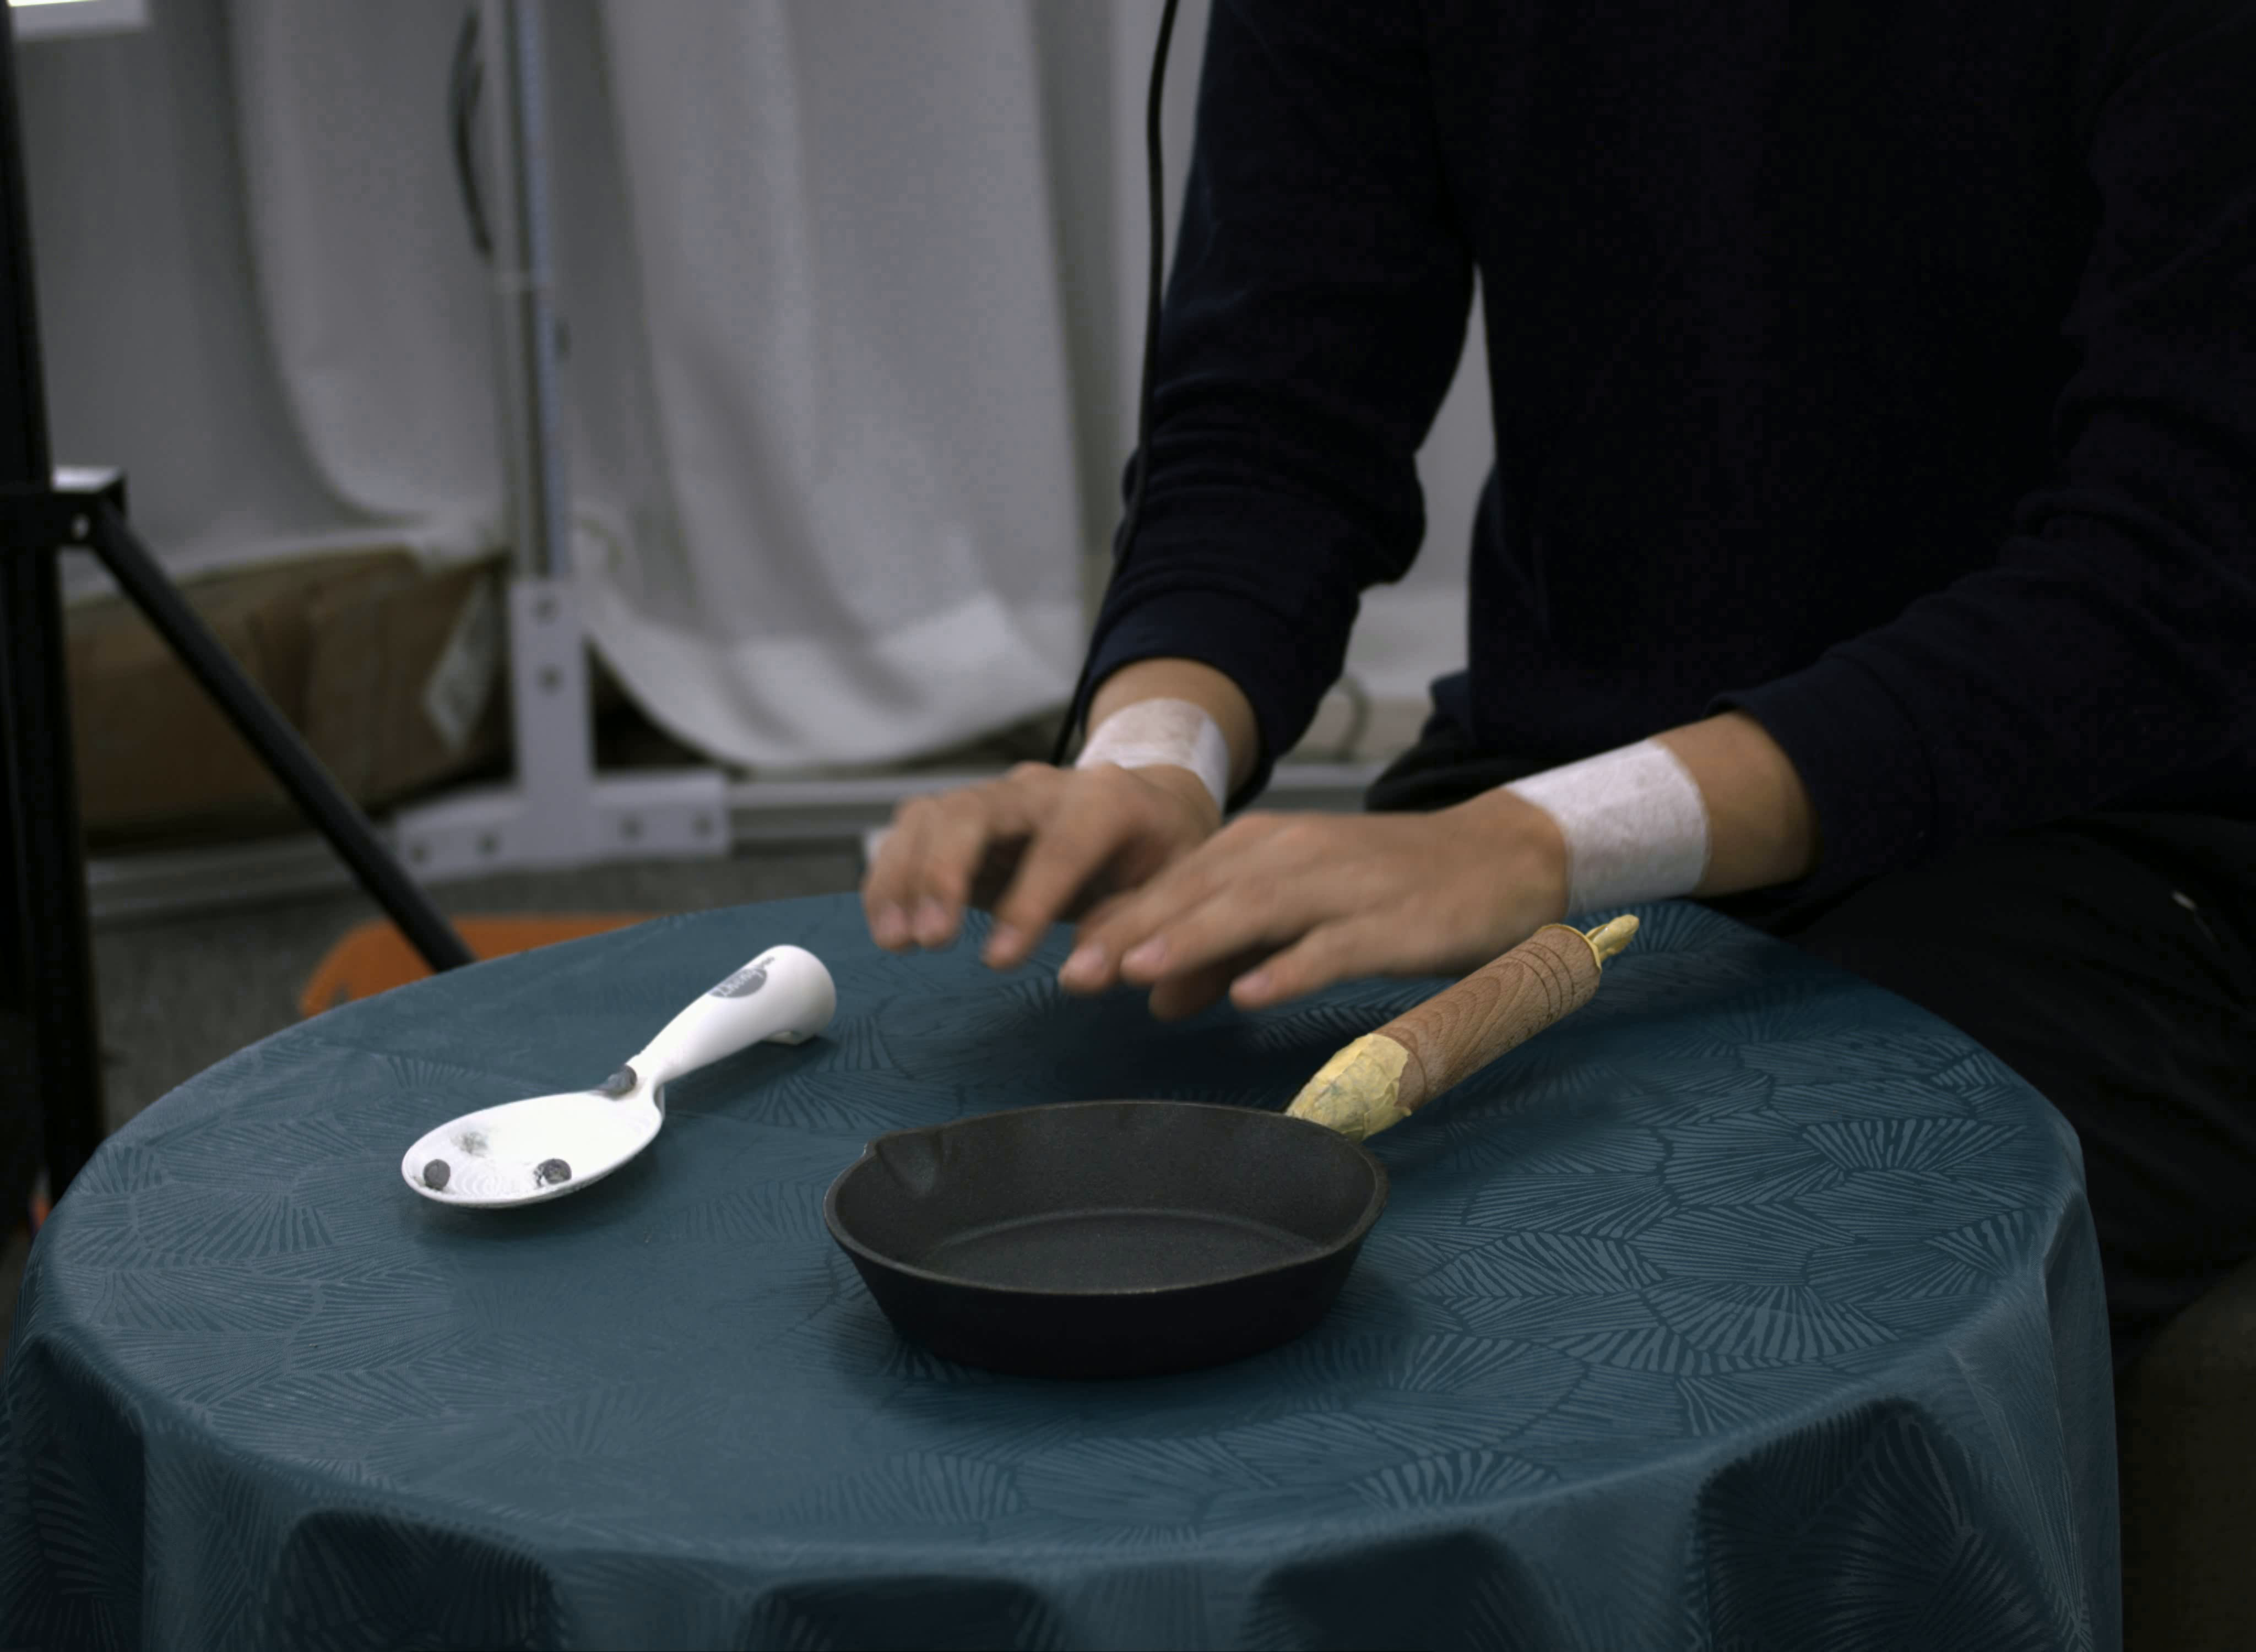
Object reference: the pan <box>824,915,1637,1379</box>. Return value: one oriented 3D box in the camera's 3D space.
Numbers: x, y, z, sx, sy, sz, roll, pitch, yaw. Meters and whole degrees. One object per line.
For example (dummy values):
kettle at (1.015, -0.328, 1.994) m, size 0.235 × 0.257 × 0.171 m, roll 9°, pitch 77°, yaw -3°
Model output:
pan at (0.050, 0.088, 1.526) m, size 0.173 × 0.049 × 0.317 m, roll 11°, pitch 22°, yaw 41°

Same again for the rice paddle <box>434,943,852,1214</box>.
rice paddle at (-0.145, 0.080, 1.639) m, size 0.070 × 0.029 × 0.202 m, roll 4°, pitch 18°, yaw 26°
